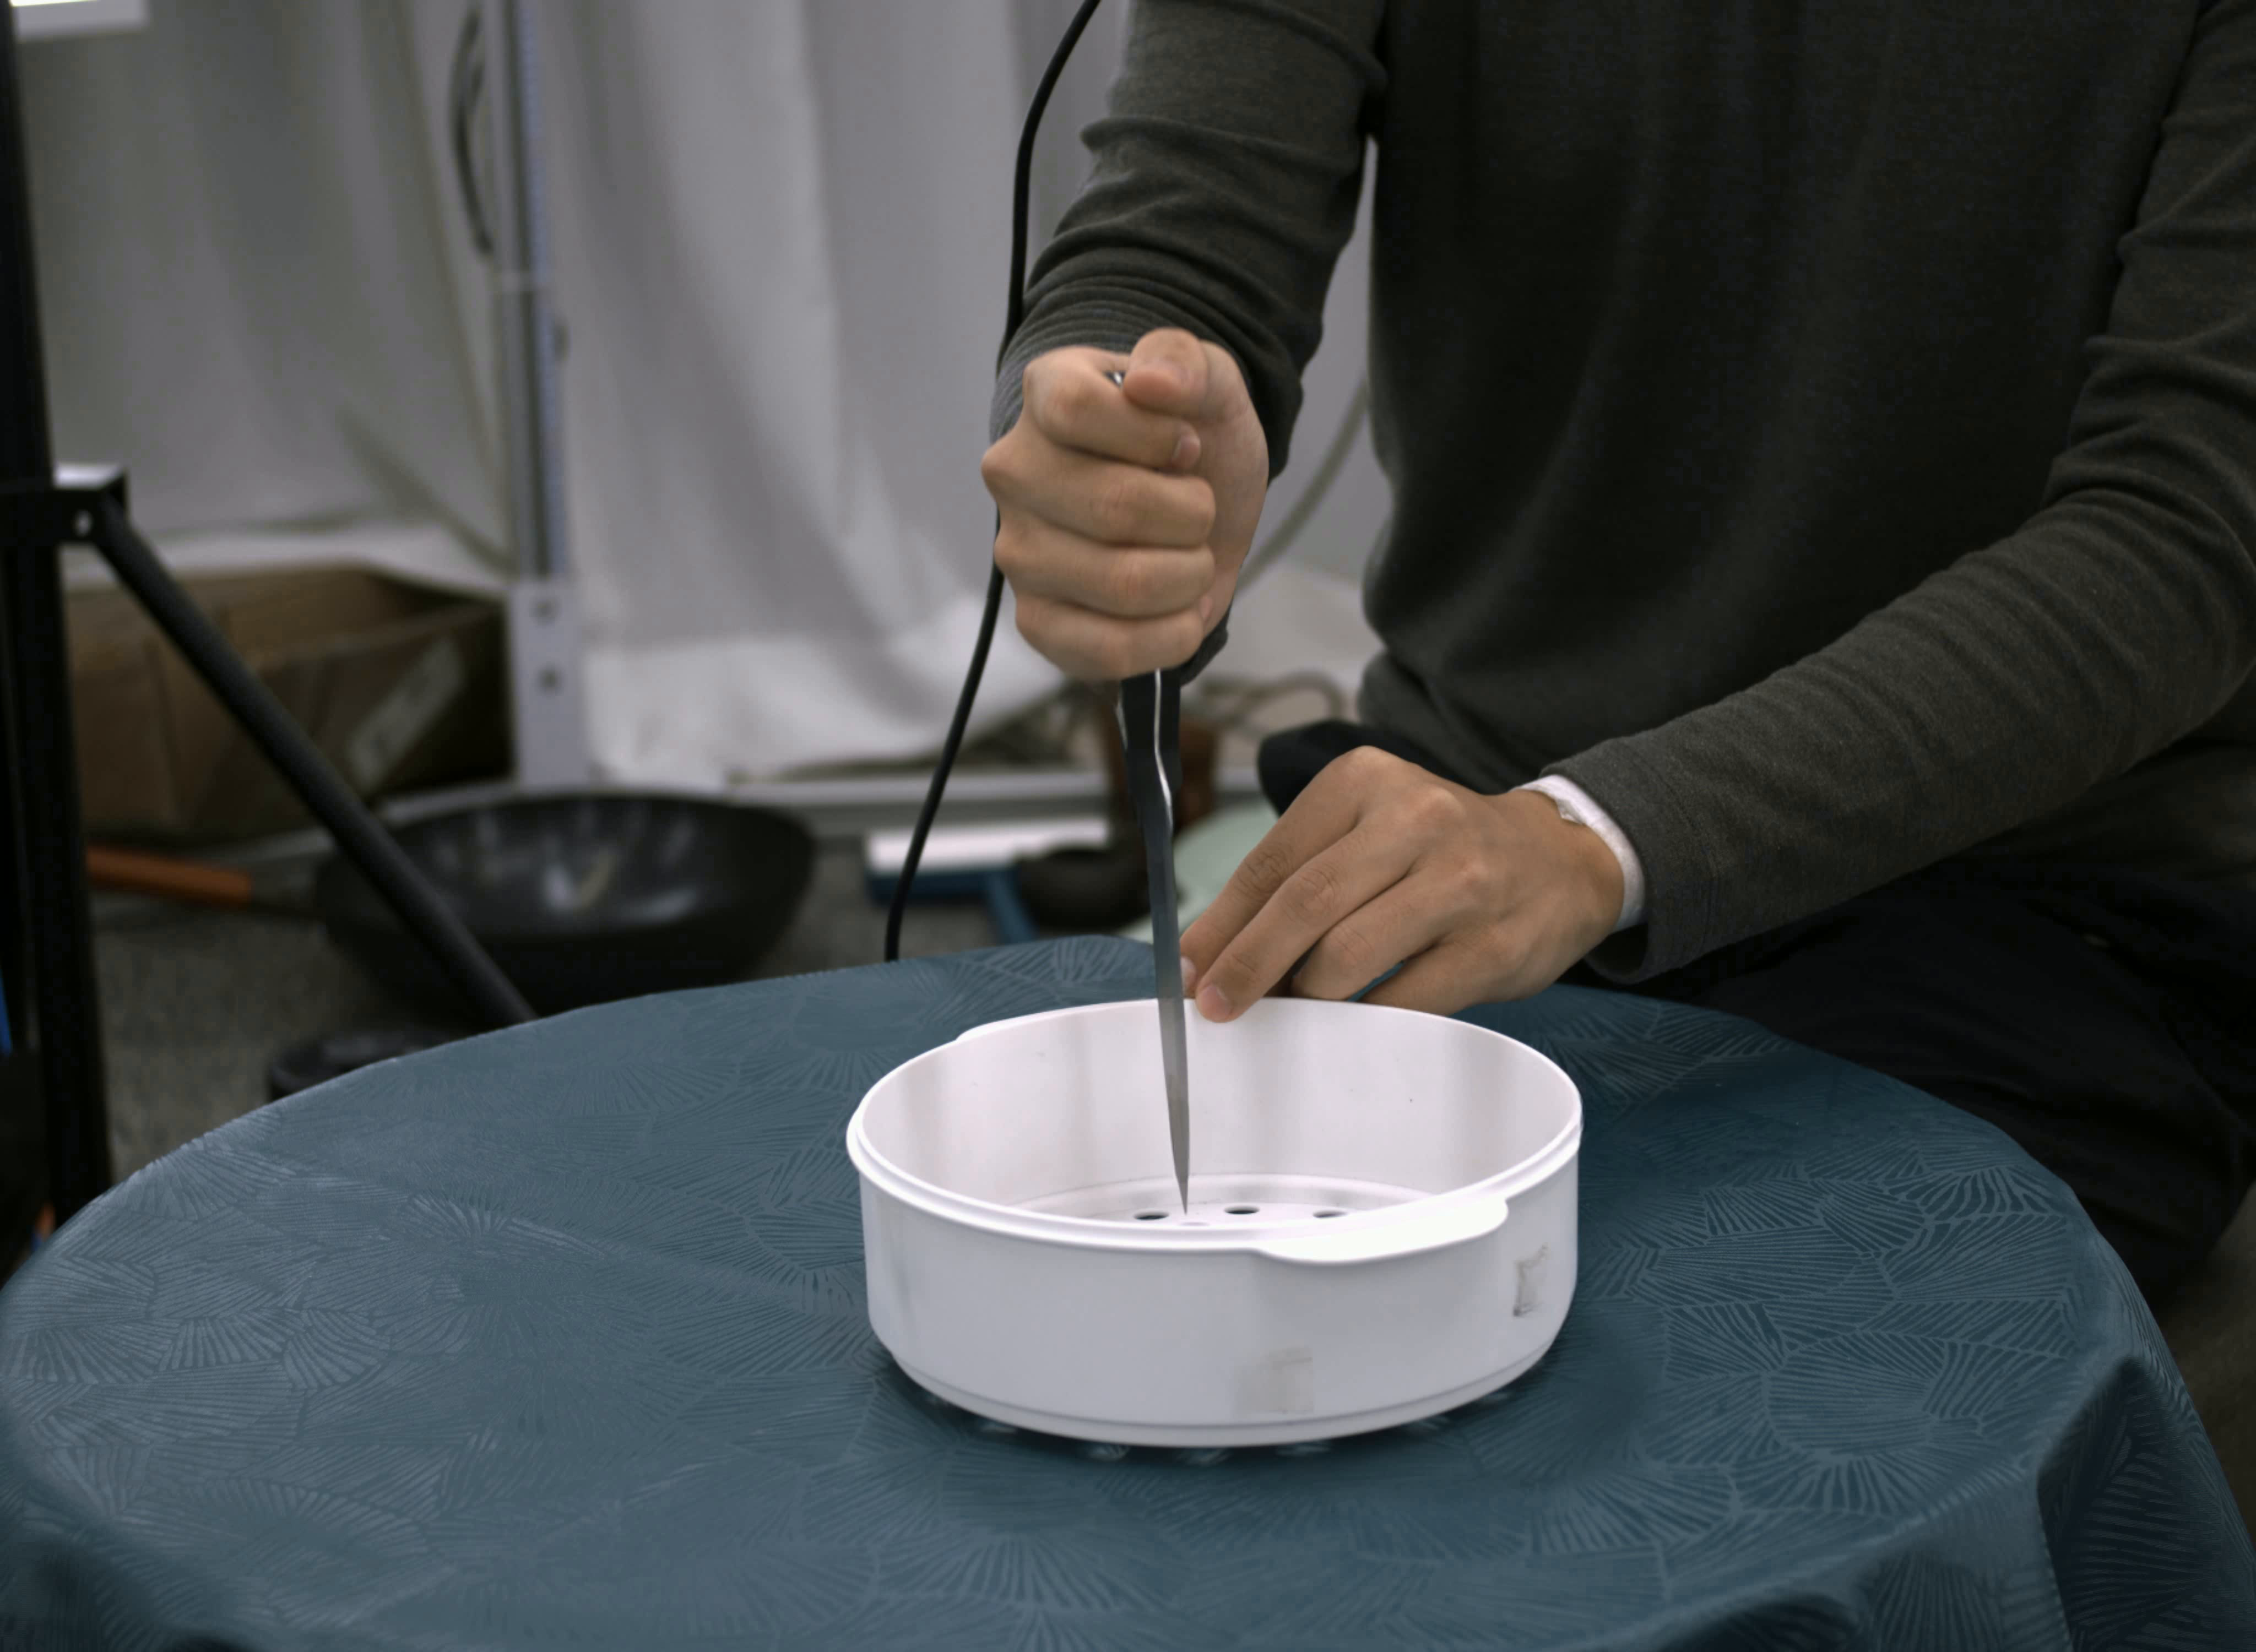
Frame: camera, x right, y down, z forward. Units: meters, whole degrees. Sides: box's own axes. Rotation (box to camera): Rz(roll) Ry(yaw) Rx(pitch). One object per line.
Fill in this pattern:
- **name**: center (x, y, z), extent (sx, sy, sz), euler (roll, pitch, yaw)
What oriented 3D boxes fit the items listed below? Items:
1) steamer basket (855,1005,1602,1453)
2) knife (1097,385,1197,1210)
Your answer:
- **steamer basket**: center (0.028, 0.108, 1.433), extent (0.198, 0.069, 0.235), euler (-8, 16, -22)
- **knife**: center (0.008, -0.003, 1.444), extent (0.016, 0.238, 0.025), euler (-8, 16, -10)
